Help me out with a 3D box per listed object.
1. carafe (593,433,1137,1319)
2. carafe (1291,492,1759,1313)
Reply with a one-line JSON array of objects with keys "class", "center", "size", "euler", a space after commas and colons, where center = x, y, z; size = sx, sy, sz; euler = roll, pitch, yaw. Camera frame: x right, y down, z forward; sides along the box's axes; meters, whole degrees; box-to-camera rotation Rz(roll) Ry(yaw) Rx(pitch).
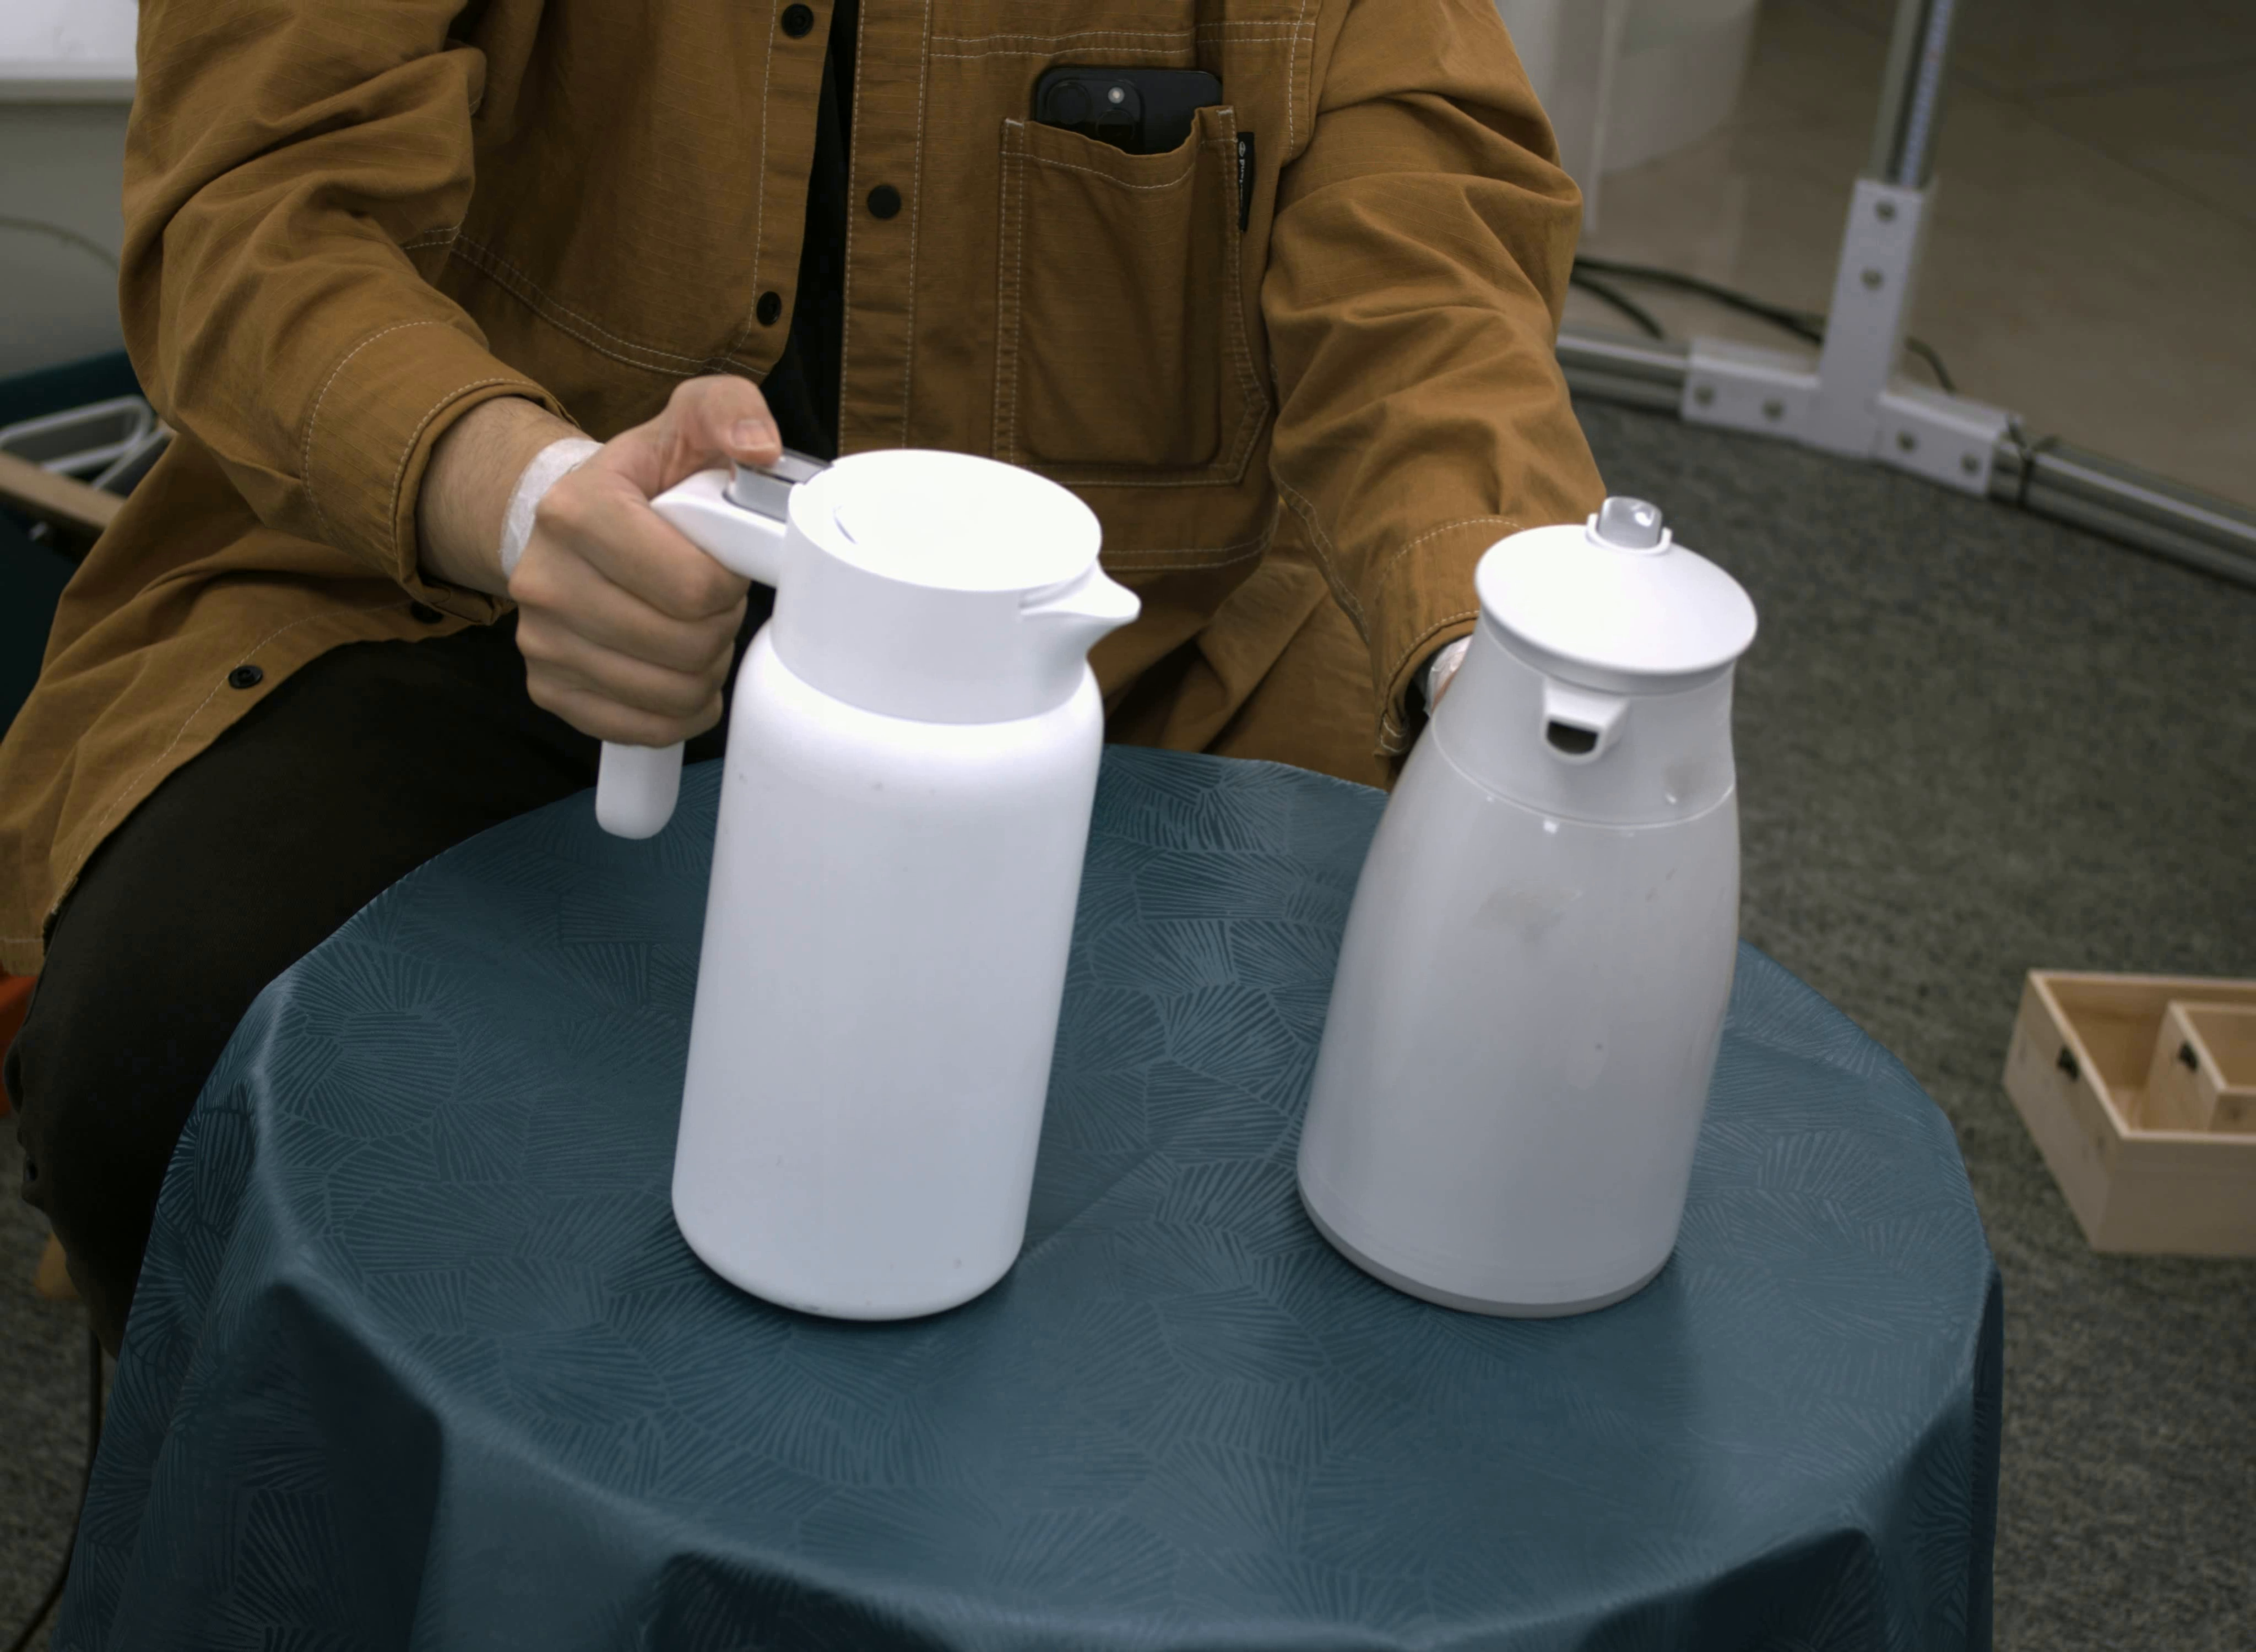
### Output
[{"class": "carafe", "center": [-0.092, 0.013, 1.702], "size": [0.173, 0.268, 0.124], "euler": [19, 31, 20]}, {"class": "carafe", "center": [0.141, 0.013, 1.765], "size": [0.132, 0.248, 0.168], "euler": [14, 30, 7]}]
